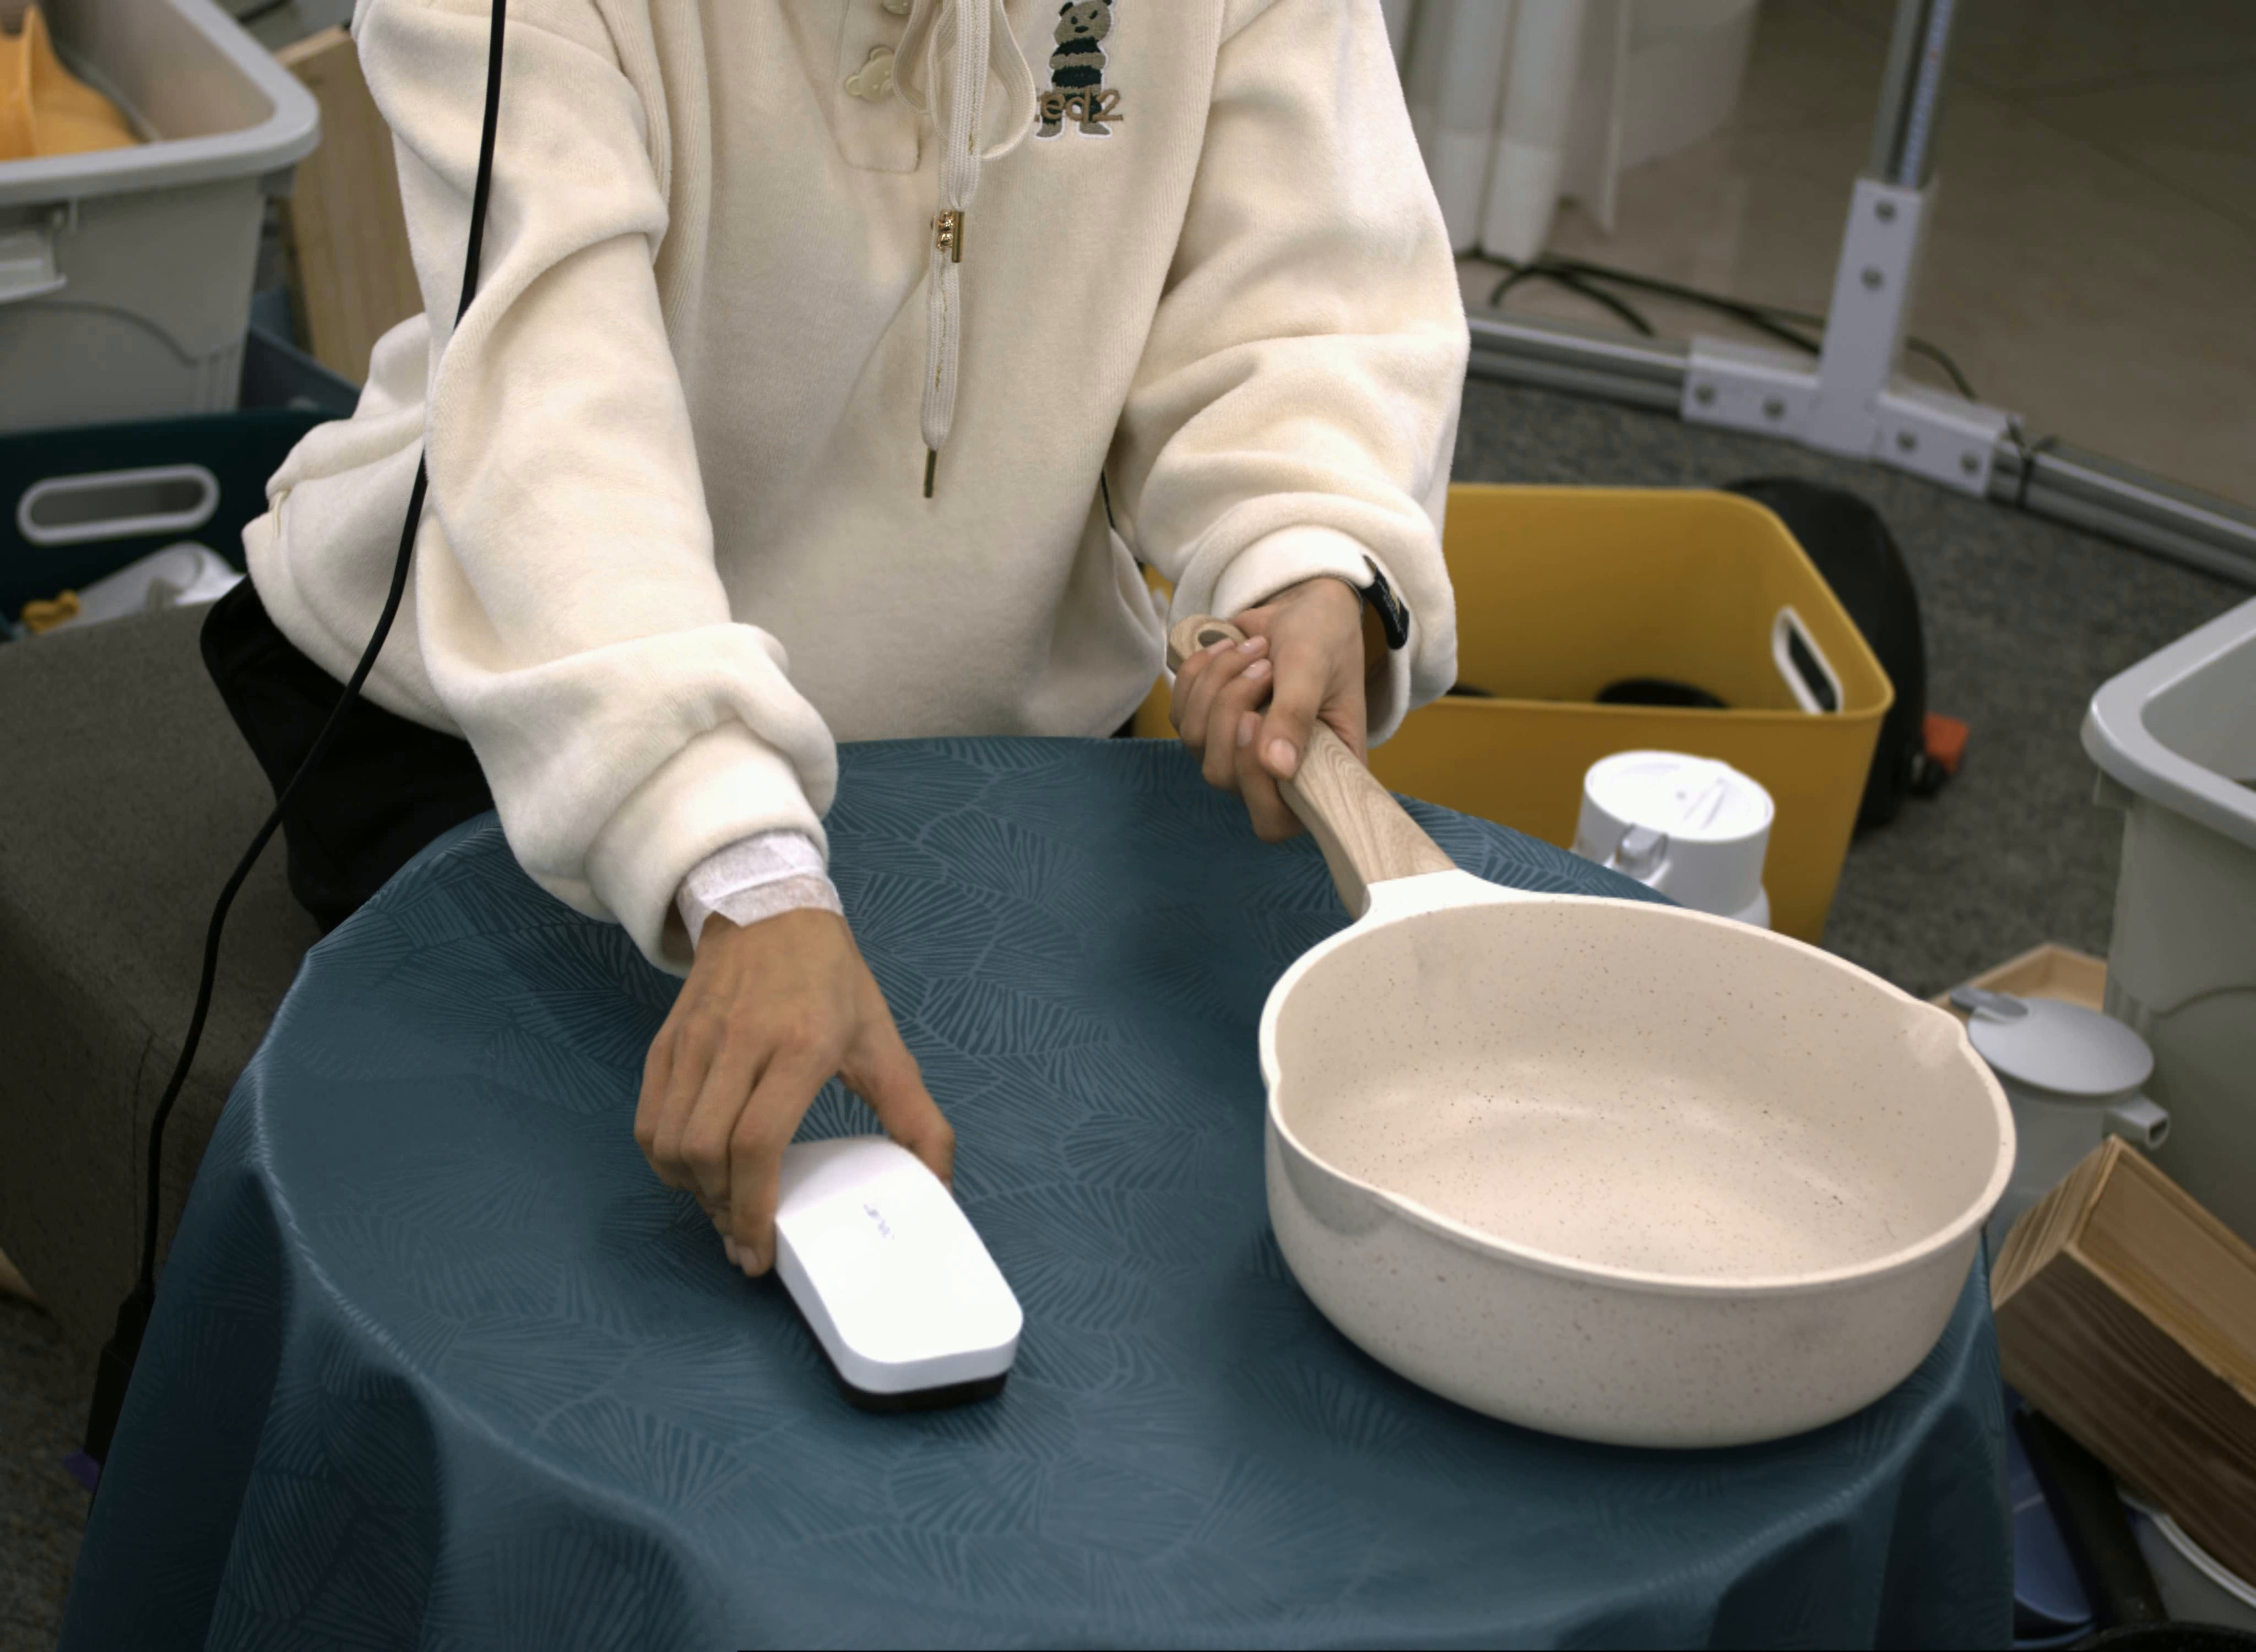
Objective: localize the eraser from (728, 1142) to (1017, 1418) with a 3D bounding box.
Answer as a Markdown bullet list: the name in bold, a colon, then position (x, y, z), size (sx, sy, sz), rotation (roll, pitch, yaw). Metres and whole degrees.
- **eraser**: position (-0.083, 0.142, 1.713), size (0.063, 0.034, 0.132), rotation (-4, 29, -23)

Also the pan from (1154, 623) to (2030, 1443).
- **pan**: position (0.123, 0.067, 1.827), size (0.262, 0.101, 0.439), rotation (-10, 32, -27)
